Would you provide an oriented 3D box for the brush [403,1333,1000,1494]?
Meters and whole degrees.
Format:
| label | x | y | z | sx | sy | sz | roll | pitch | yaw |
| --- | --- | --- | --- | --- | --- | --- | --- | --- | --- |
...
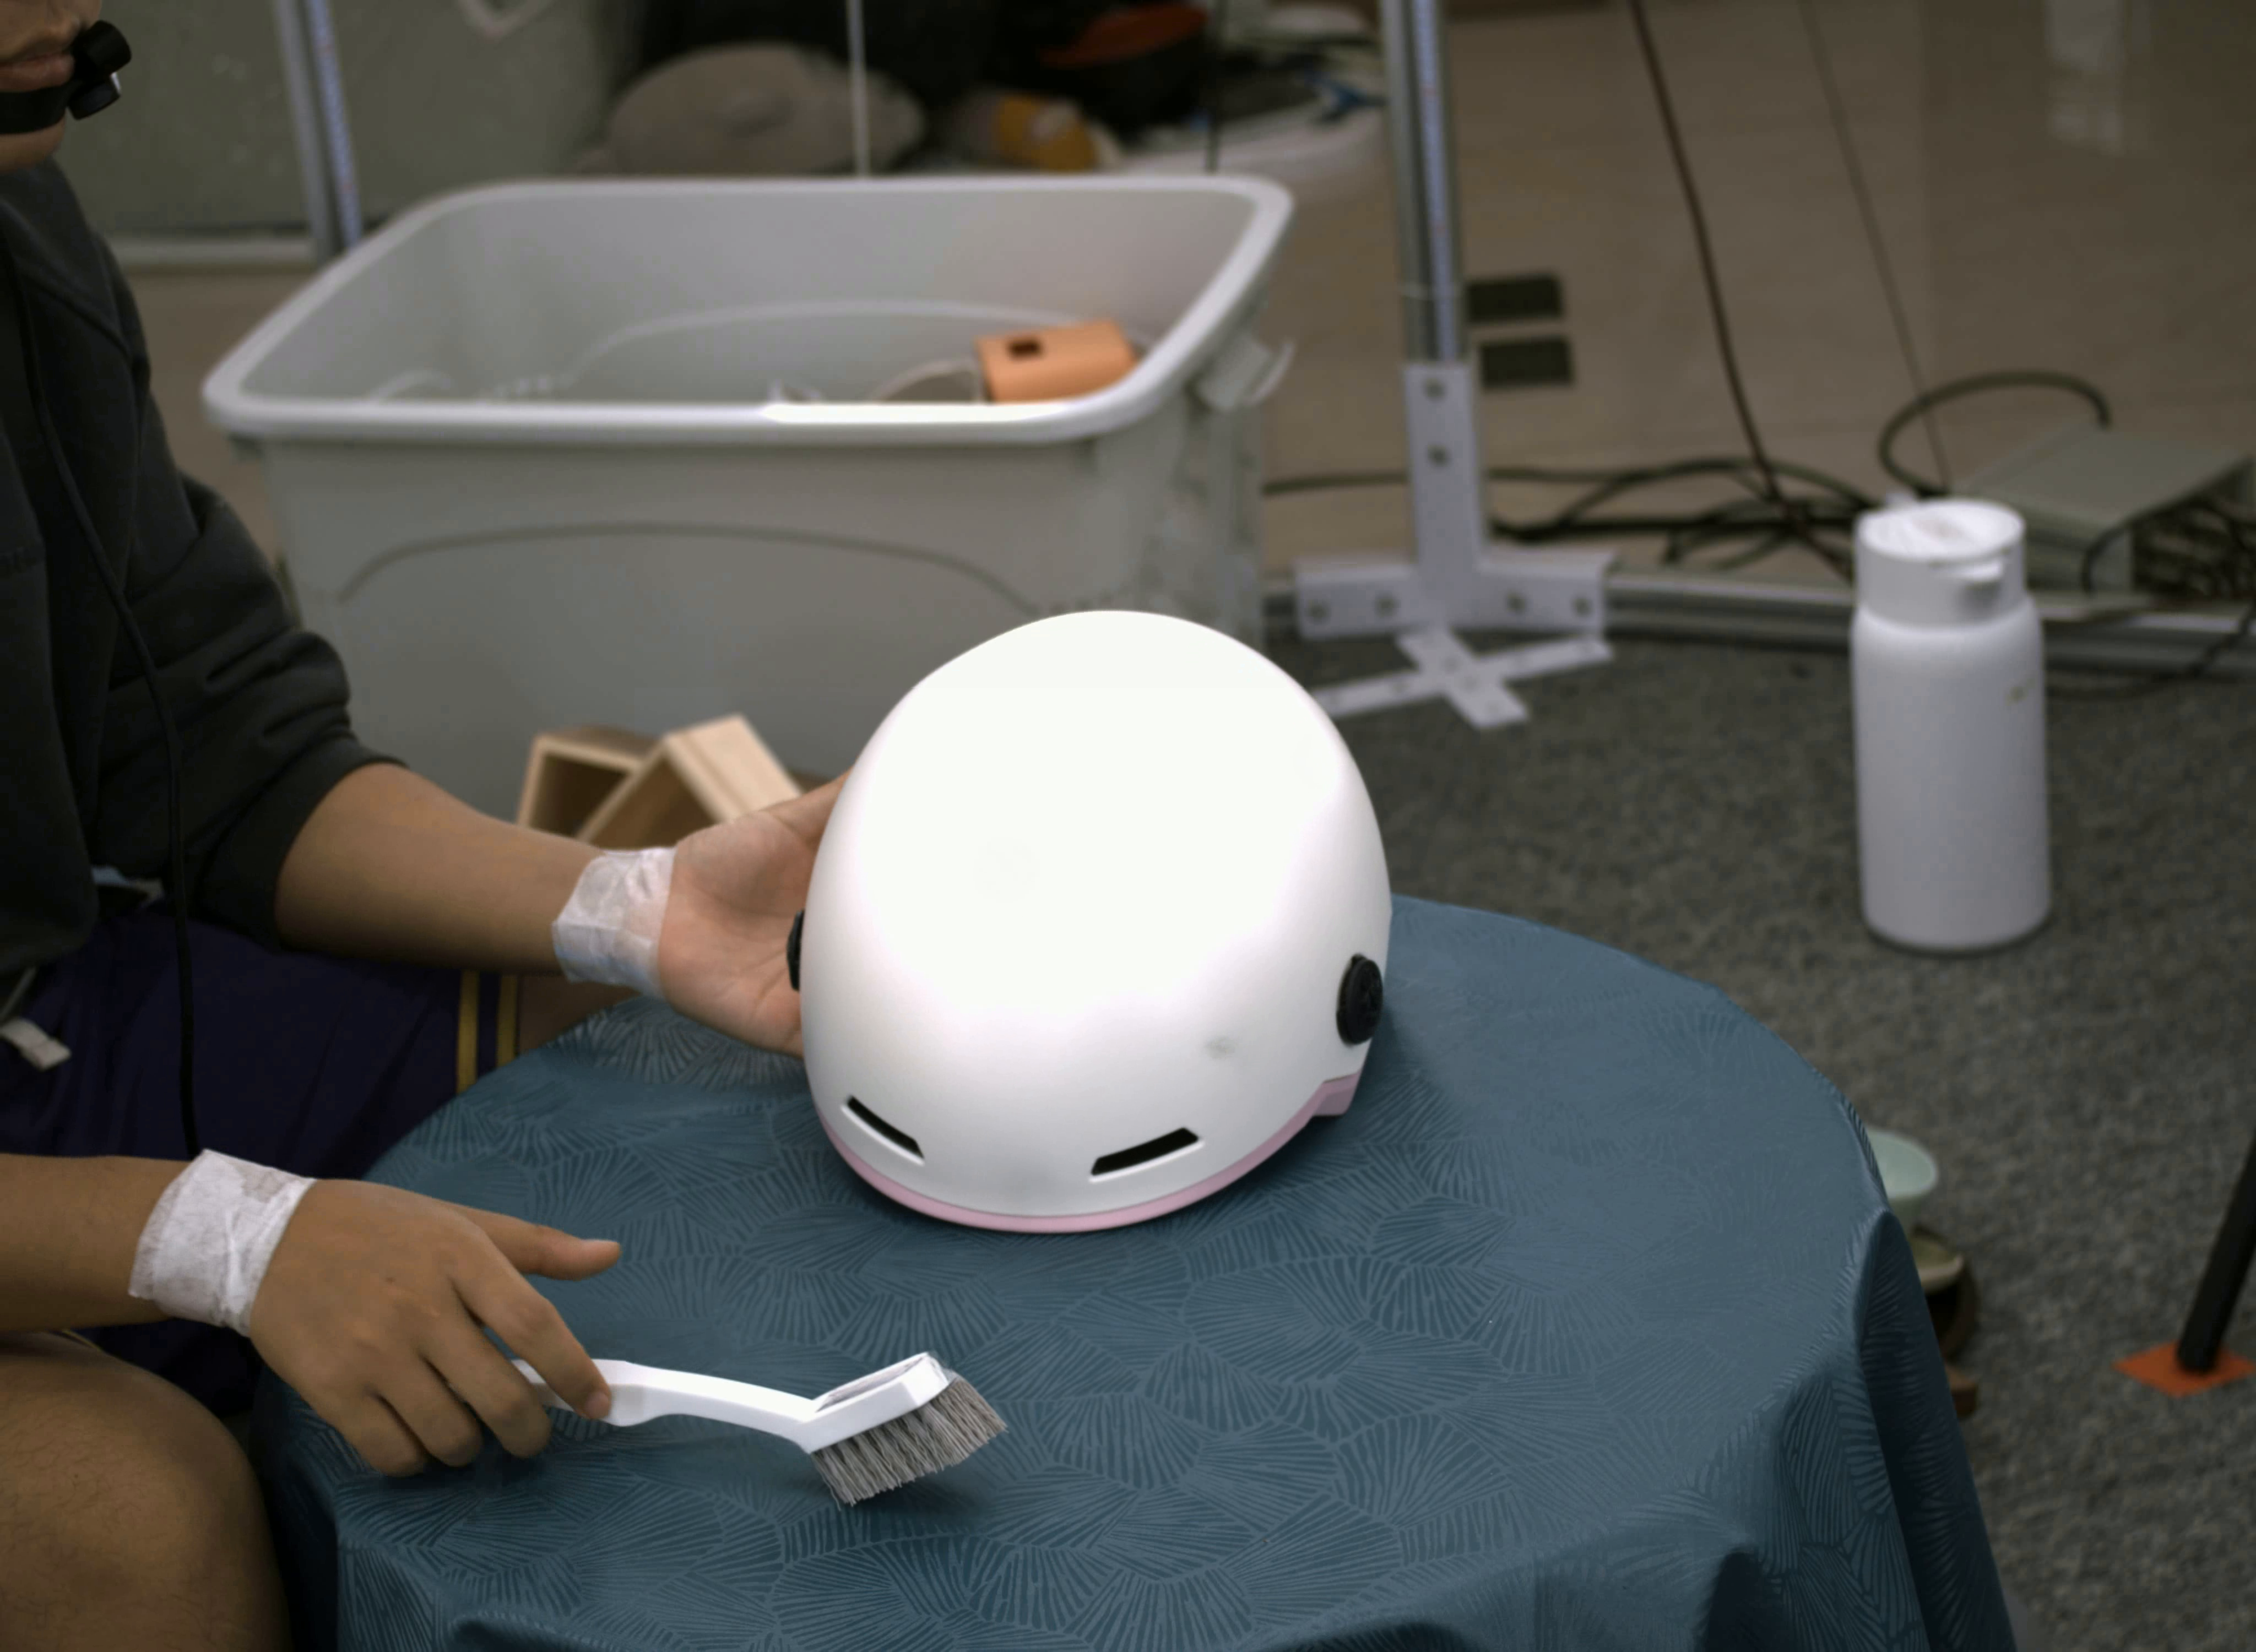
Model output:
| label | x | y | z | sx | sy | sz | roll | pitch | yaw |
| --- | --- | --- | --- | --- | --- | --- | --- | --- | --- |
| brush | -0.153 | 0.211 | 2.000 | 0.243 | 0.051 | 0.034 | -7 | 18 | 32 |

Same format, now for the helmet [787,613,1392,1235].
| label | x | y | z | sx | sy | sz | roll | pitch | yaw |
| --- | --- | --- | --- | --- | --- | --- | --- | --- | --- |
| helmet | -0.013 | 0.019 | 2.193 | 0.236 | 0.170 | 0.264 | 6 | 31 | 16 |
